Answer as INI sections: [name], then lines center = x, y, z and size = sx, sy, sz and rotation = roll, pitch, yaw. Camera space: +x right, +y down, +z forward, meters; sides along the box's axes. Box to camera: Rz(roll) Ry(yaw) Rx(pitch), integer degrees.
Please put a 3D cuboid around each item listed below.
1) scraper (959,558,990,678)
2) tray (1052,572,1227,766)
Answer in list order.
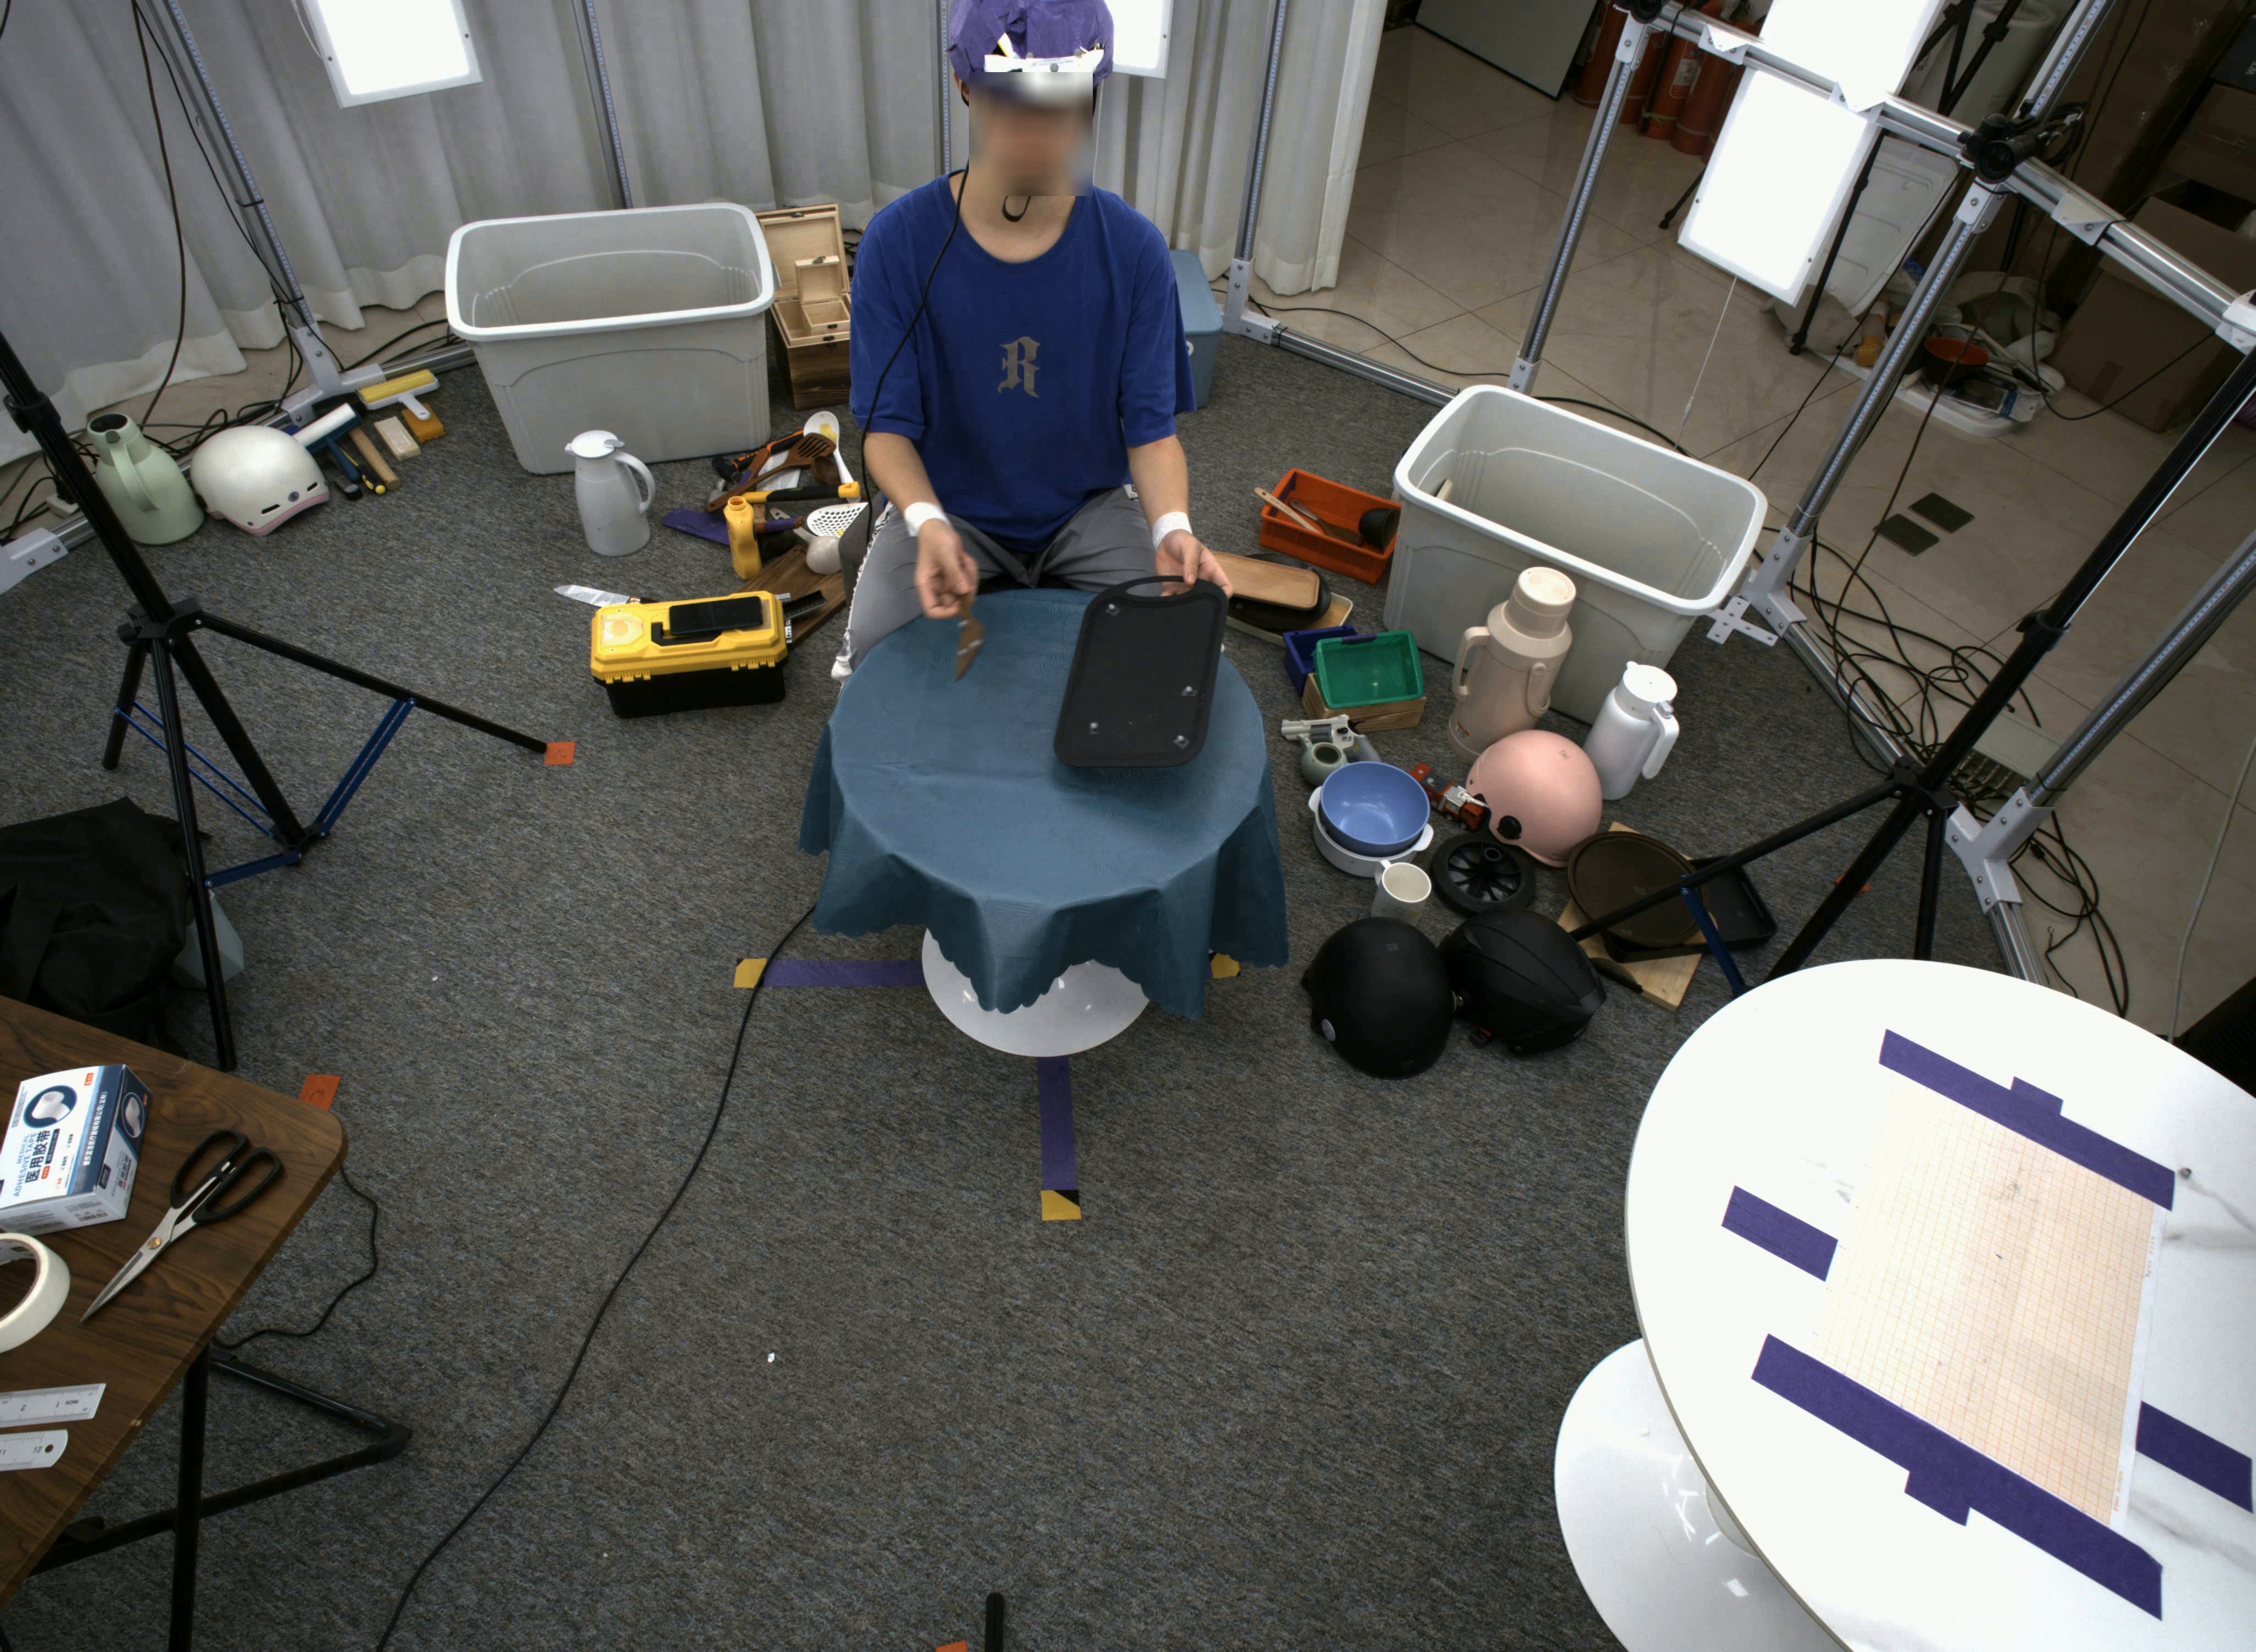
[scraper]
center = -0.212, -0.290, 1.739
size = 0.011, 0.074, 0.216
rotation = 16, 42, -29
[tray]
center = 0.018, -0.220, 1.742
size = 0.211, 0.009, 0.332
rotation = 1, 58, 20
